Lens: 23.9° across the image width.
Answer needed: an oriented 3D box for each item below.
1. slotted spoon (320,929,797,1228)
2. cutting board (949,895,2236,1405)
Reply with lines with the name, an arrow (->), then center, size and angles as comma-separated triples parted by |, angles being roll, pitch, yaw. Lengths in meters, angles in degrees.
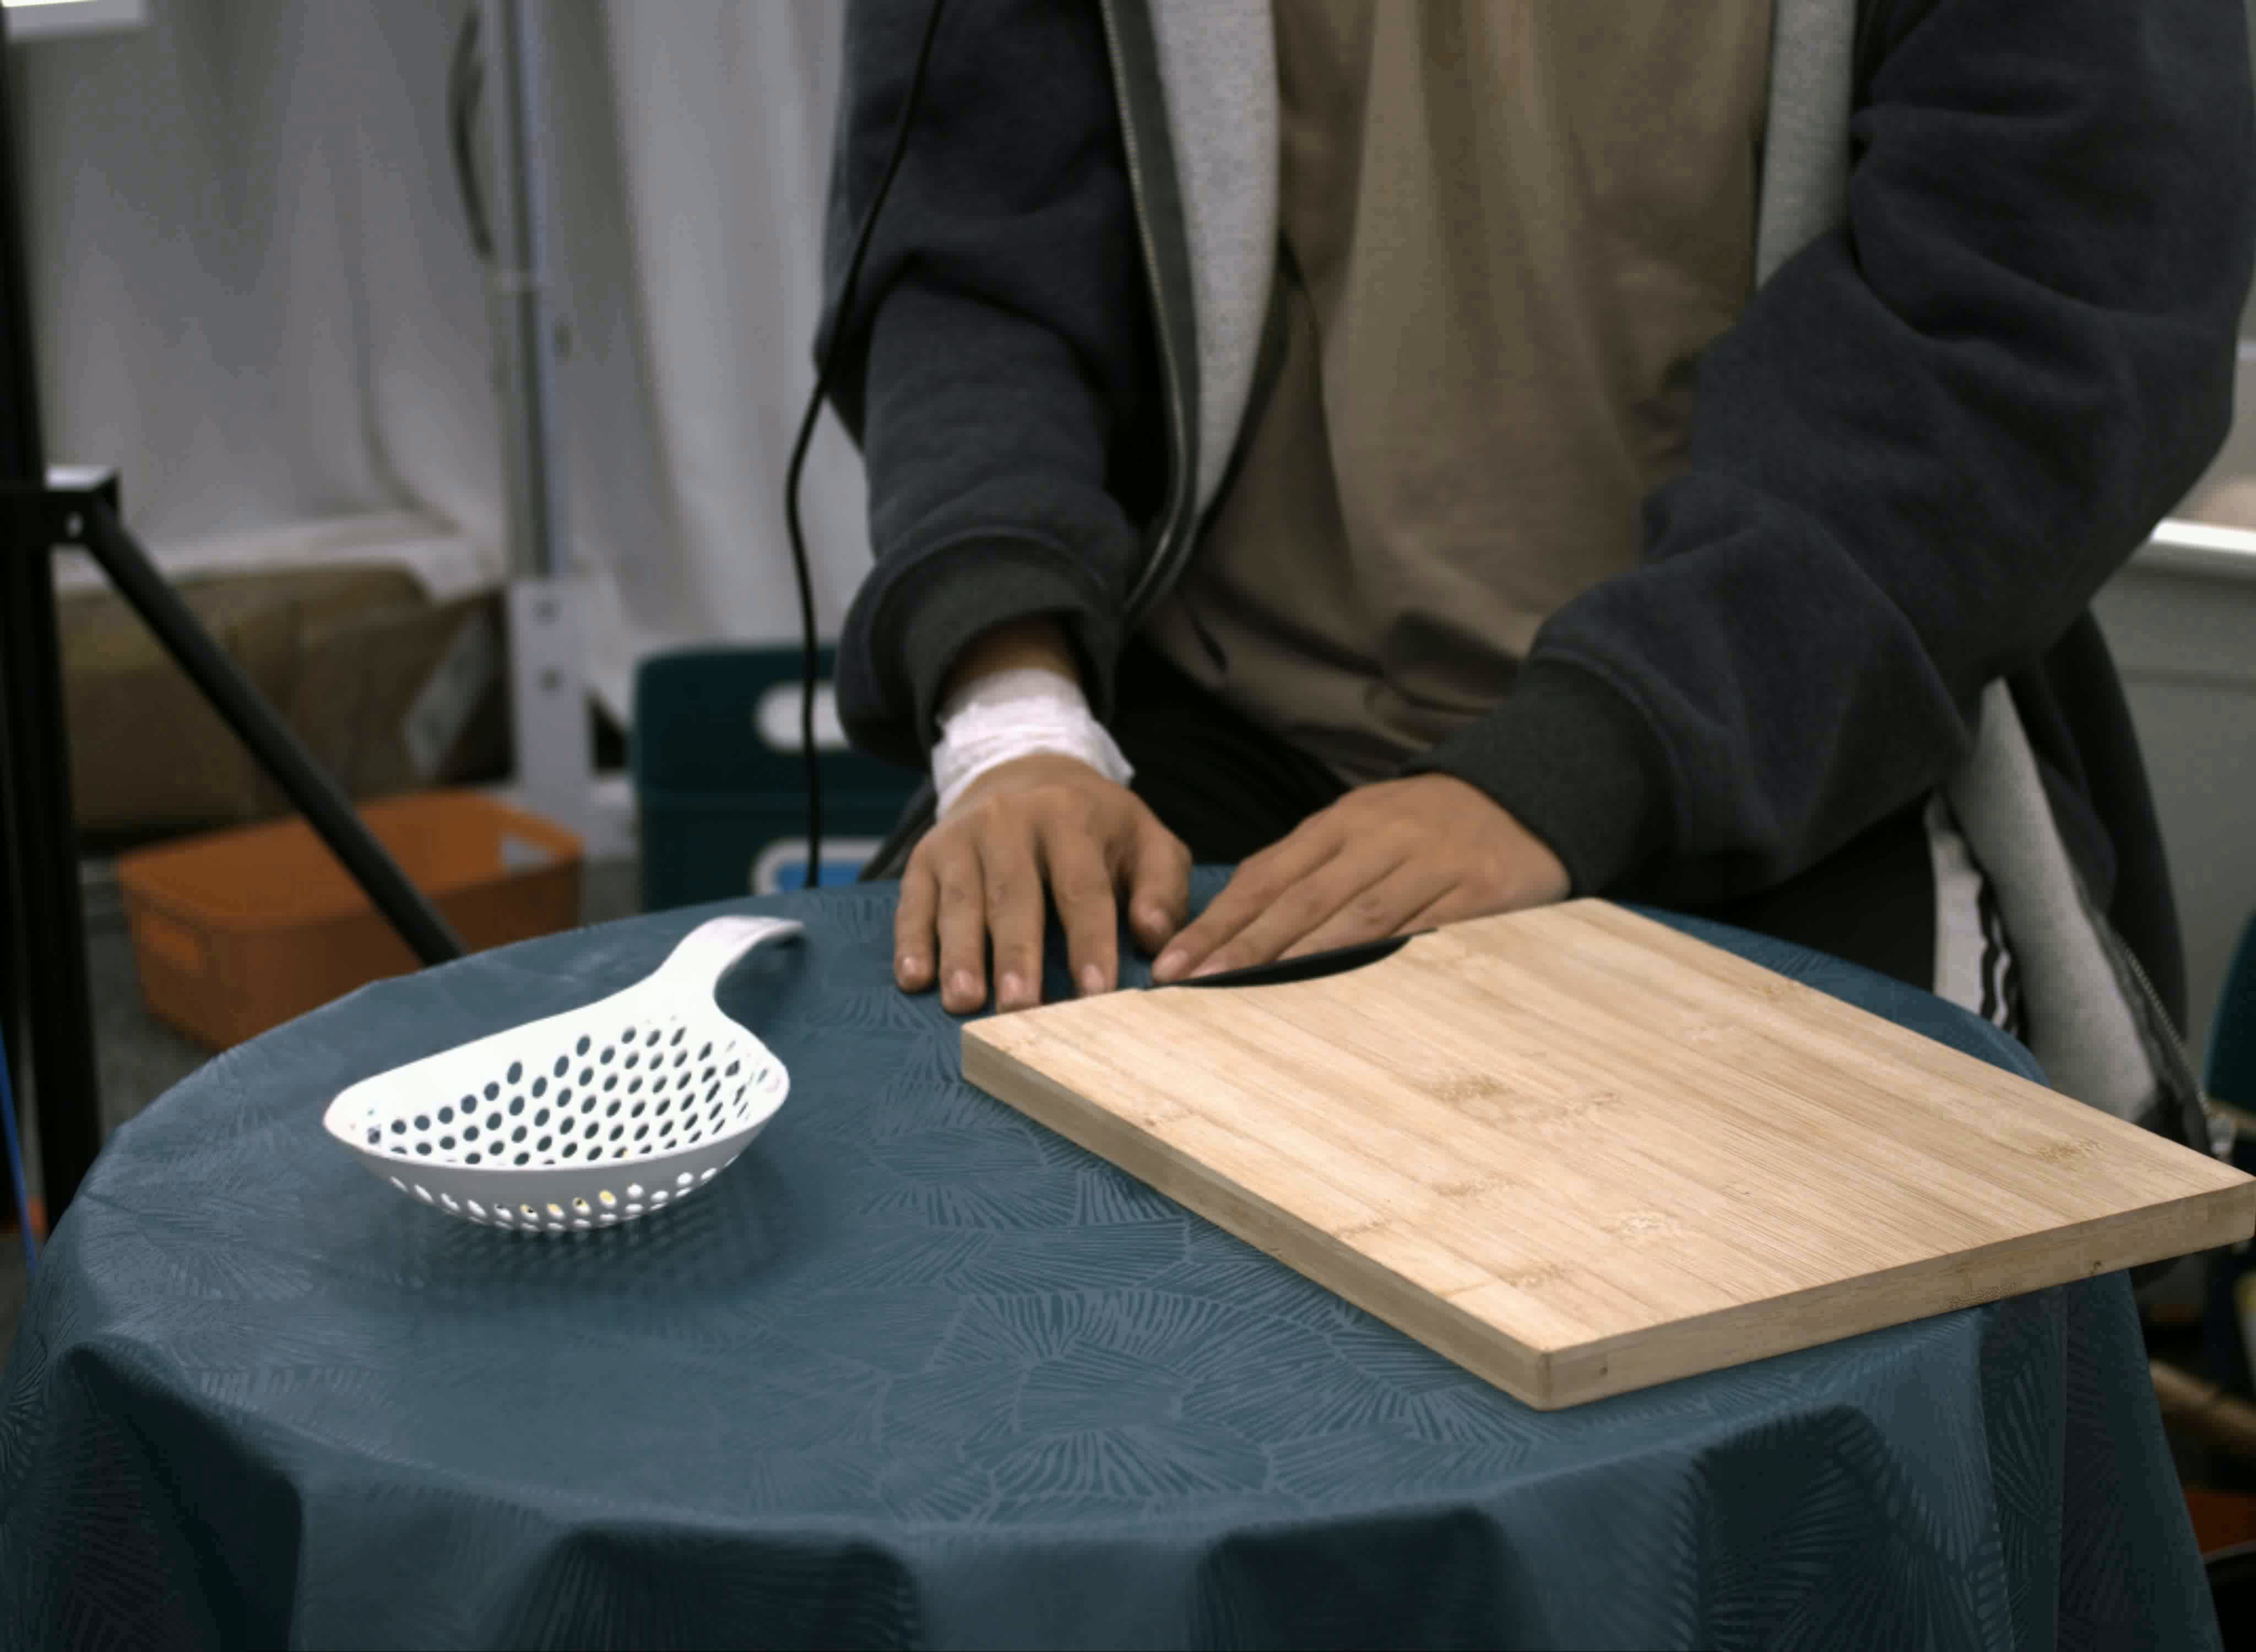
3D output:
slotted spoon -> -0.146, 0.065, 1.661 | 0.137, 0.050, 0.346 | -2, 16, 10
cutting board -> 0.130, 0.089, 1.576 | 0.245, 0.023, 0.356 | -10, 17, -27
